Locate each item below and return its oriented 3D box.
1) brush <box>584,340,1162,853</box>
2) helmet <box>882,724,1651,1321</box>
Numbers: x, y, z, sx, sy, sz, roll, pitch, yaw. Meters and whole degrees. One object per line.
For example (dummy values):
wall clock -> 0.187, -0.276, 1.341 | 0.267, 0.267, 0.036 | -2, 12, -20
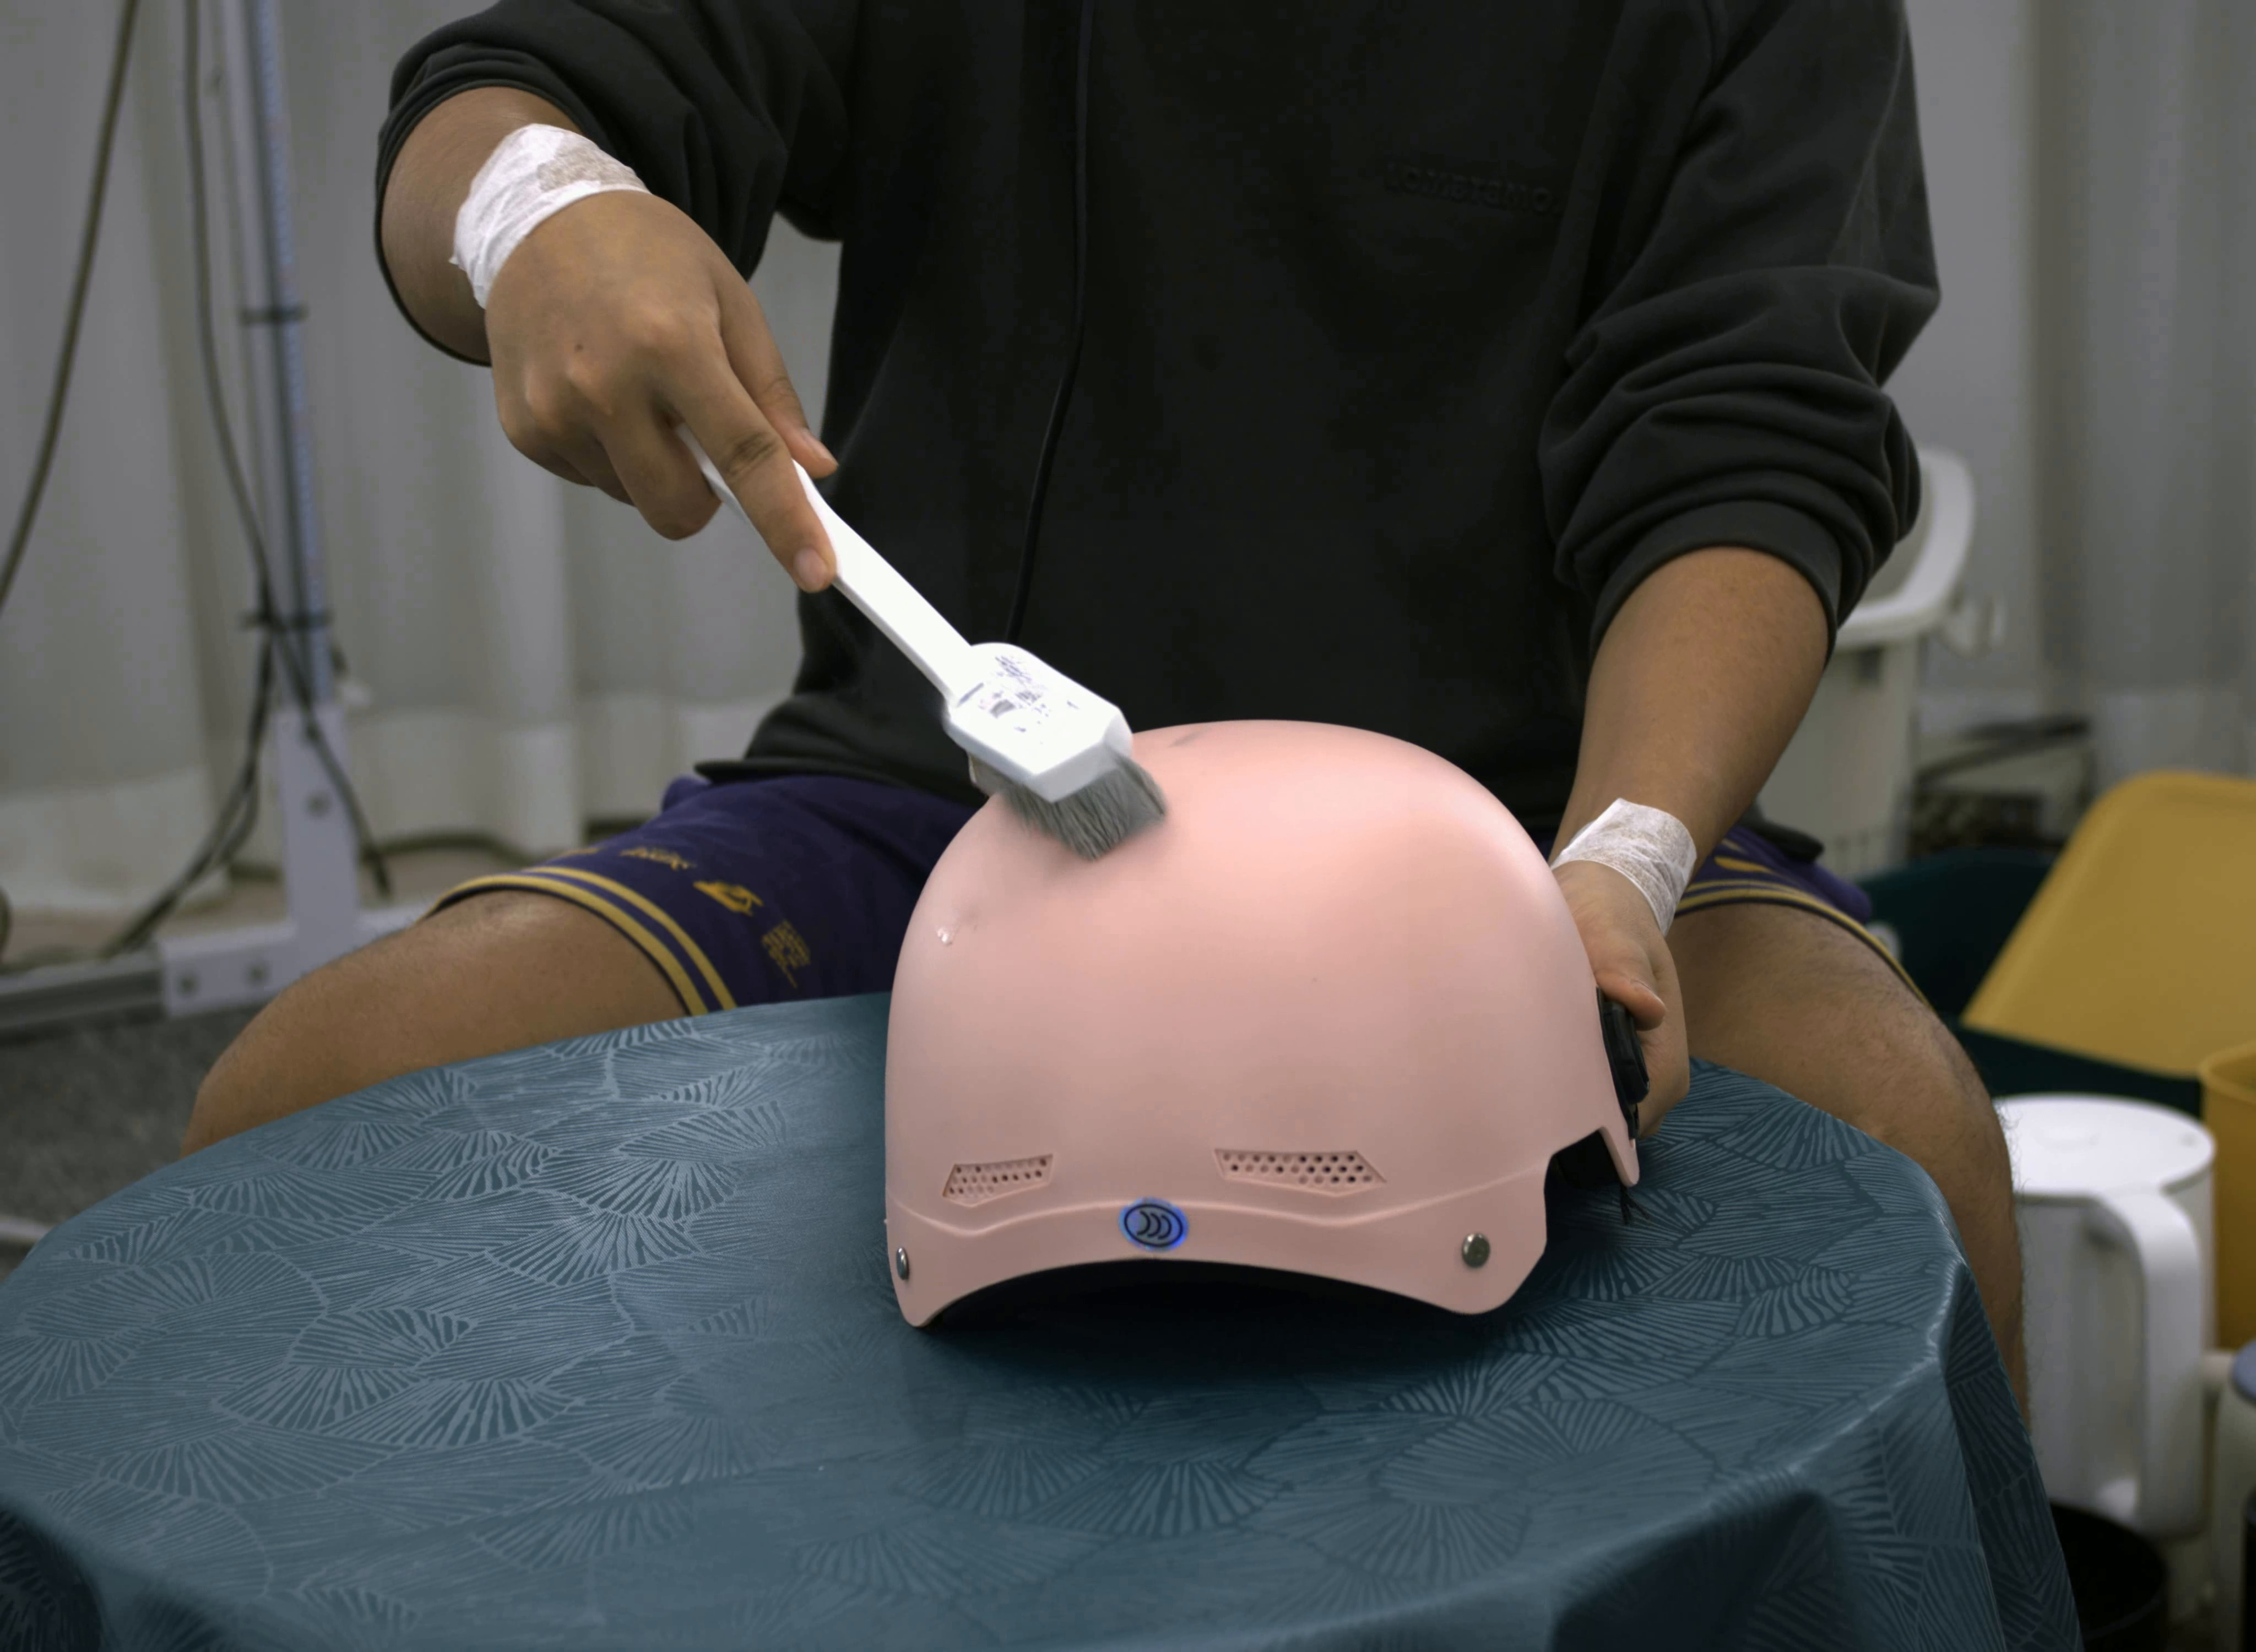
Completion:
brush -> -0.079, -0.069, 1.623 | 0.034, 0.049, 0.246 | -39, 54, -17
helmet -> 0.035, 0.047, 1.649 | 0.234, 0.158, 0.266 | -3, 10, 17
